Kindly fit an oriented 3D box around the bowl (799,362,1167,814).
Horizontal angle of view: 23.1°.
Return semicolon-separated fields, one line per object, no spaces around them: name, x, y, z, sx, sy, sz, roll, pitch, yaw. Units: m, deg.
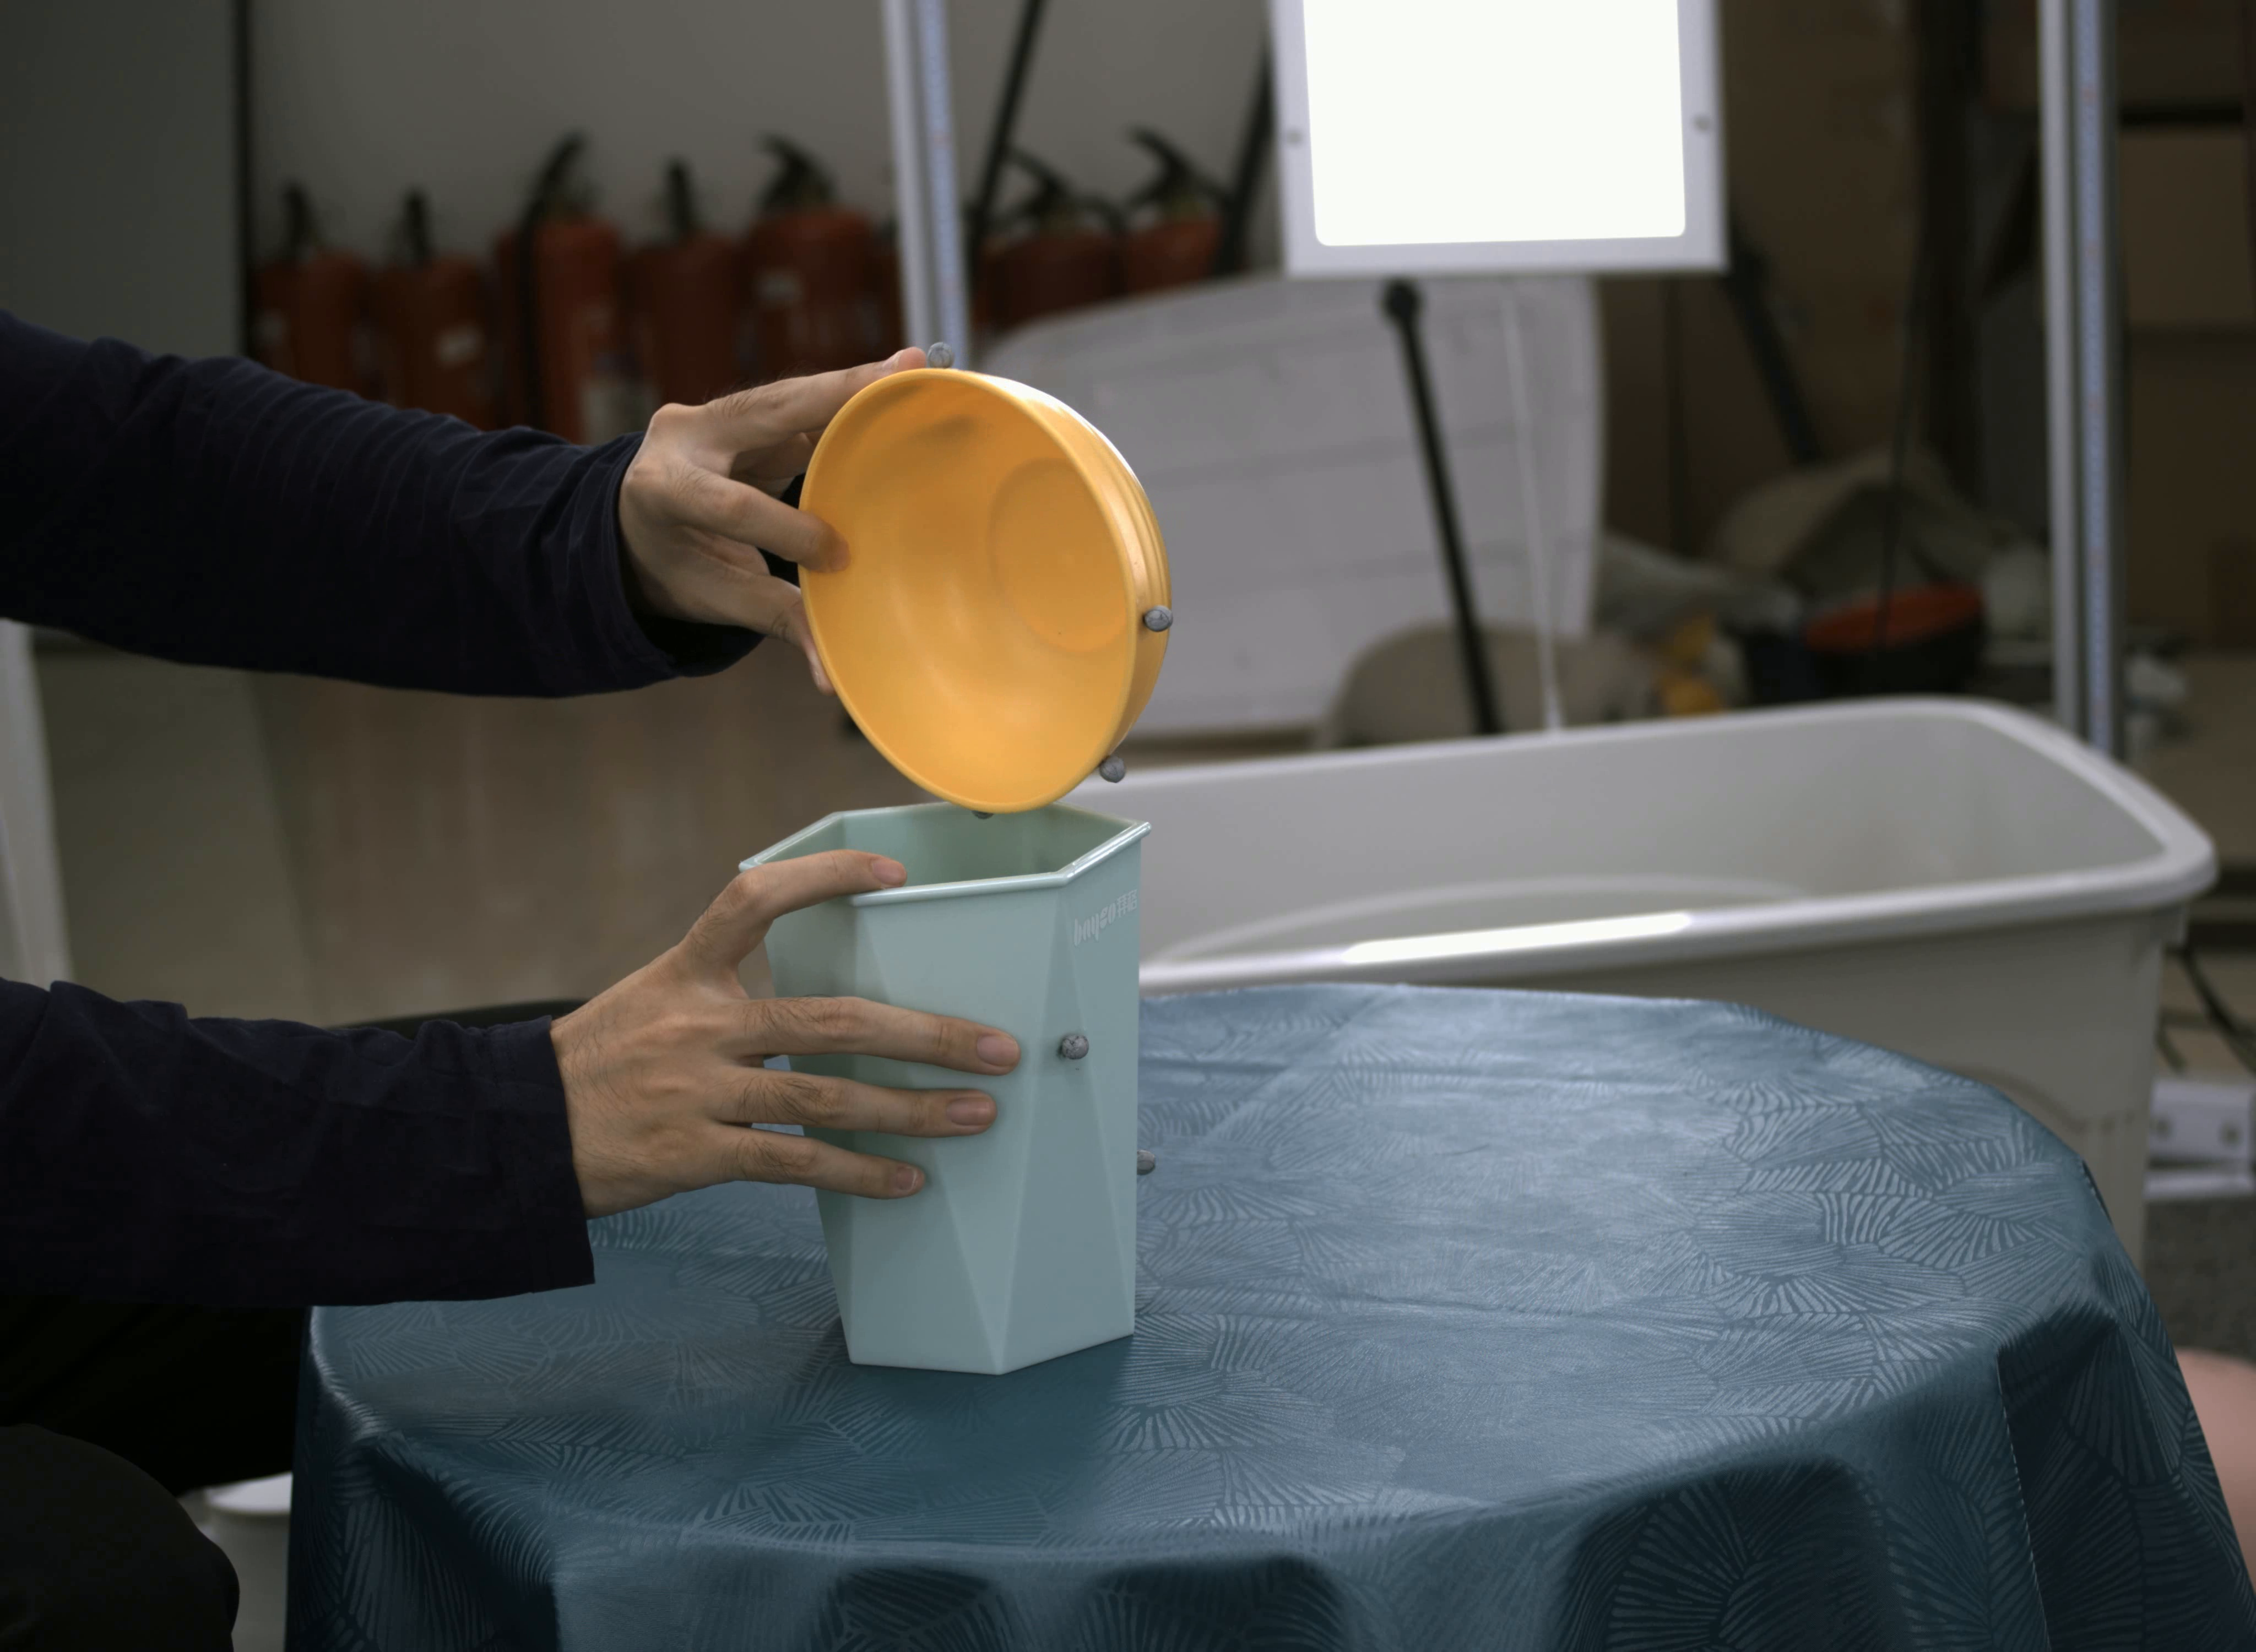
bowl;-0.034;-0.080;1.756;0.148;0.146;0.058;8;19;43

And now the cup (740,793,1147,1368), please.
cup;-0.051;0.081;1.757;0.117;0.163;0.128;0;14;24
